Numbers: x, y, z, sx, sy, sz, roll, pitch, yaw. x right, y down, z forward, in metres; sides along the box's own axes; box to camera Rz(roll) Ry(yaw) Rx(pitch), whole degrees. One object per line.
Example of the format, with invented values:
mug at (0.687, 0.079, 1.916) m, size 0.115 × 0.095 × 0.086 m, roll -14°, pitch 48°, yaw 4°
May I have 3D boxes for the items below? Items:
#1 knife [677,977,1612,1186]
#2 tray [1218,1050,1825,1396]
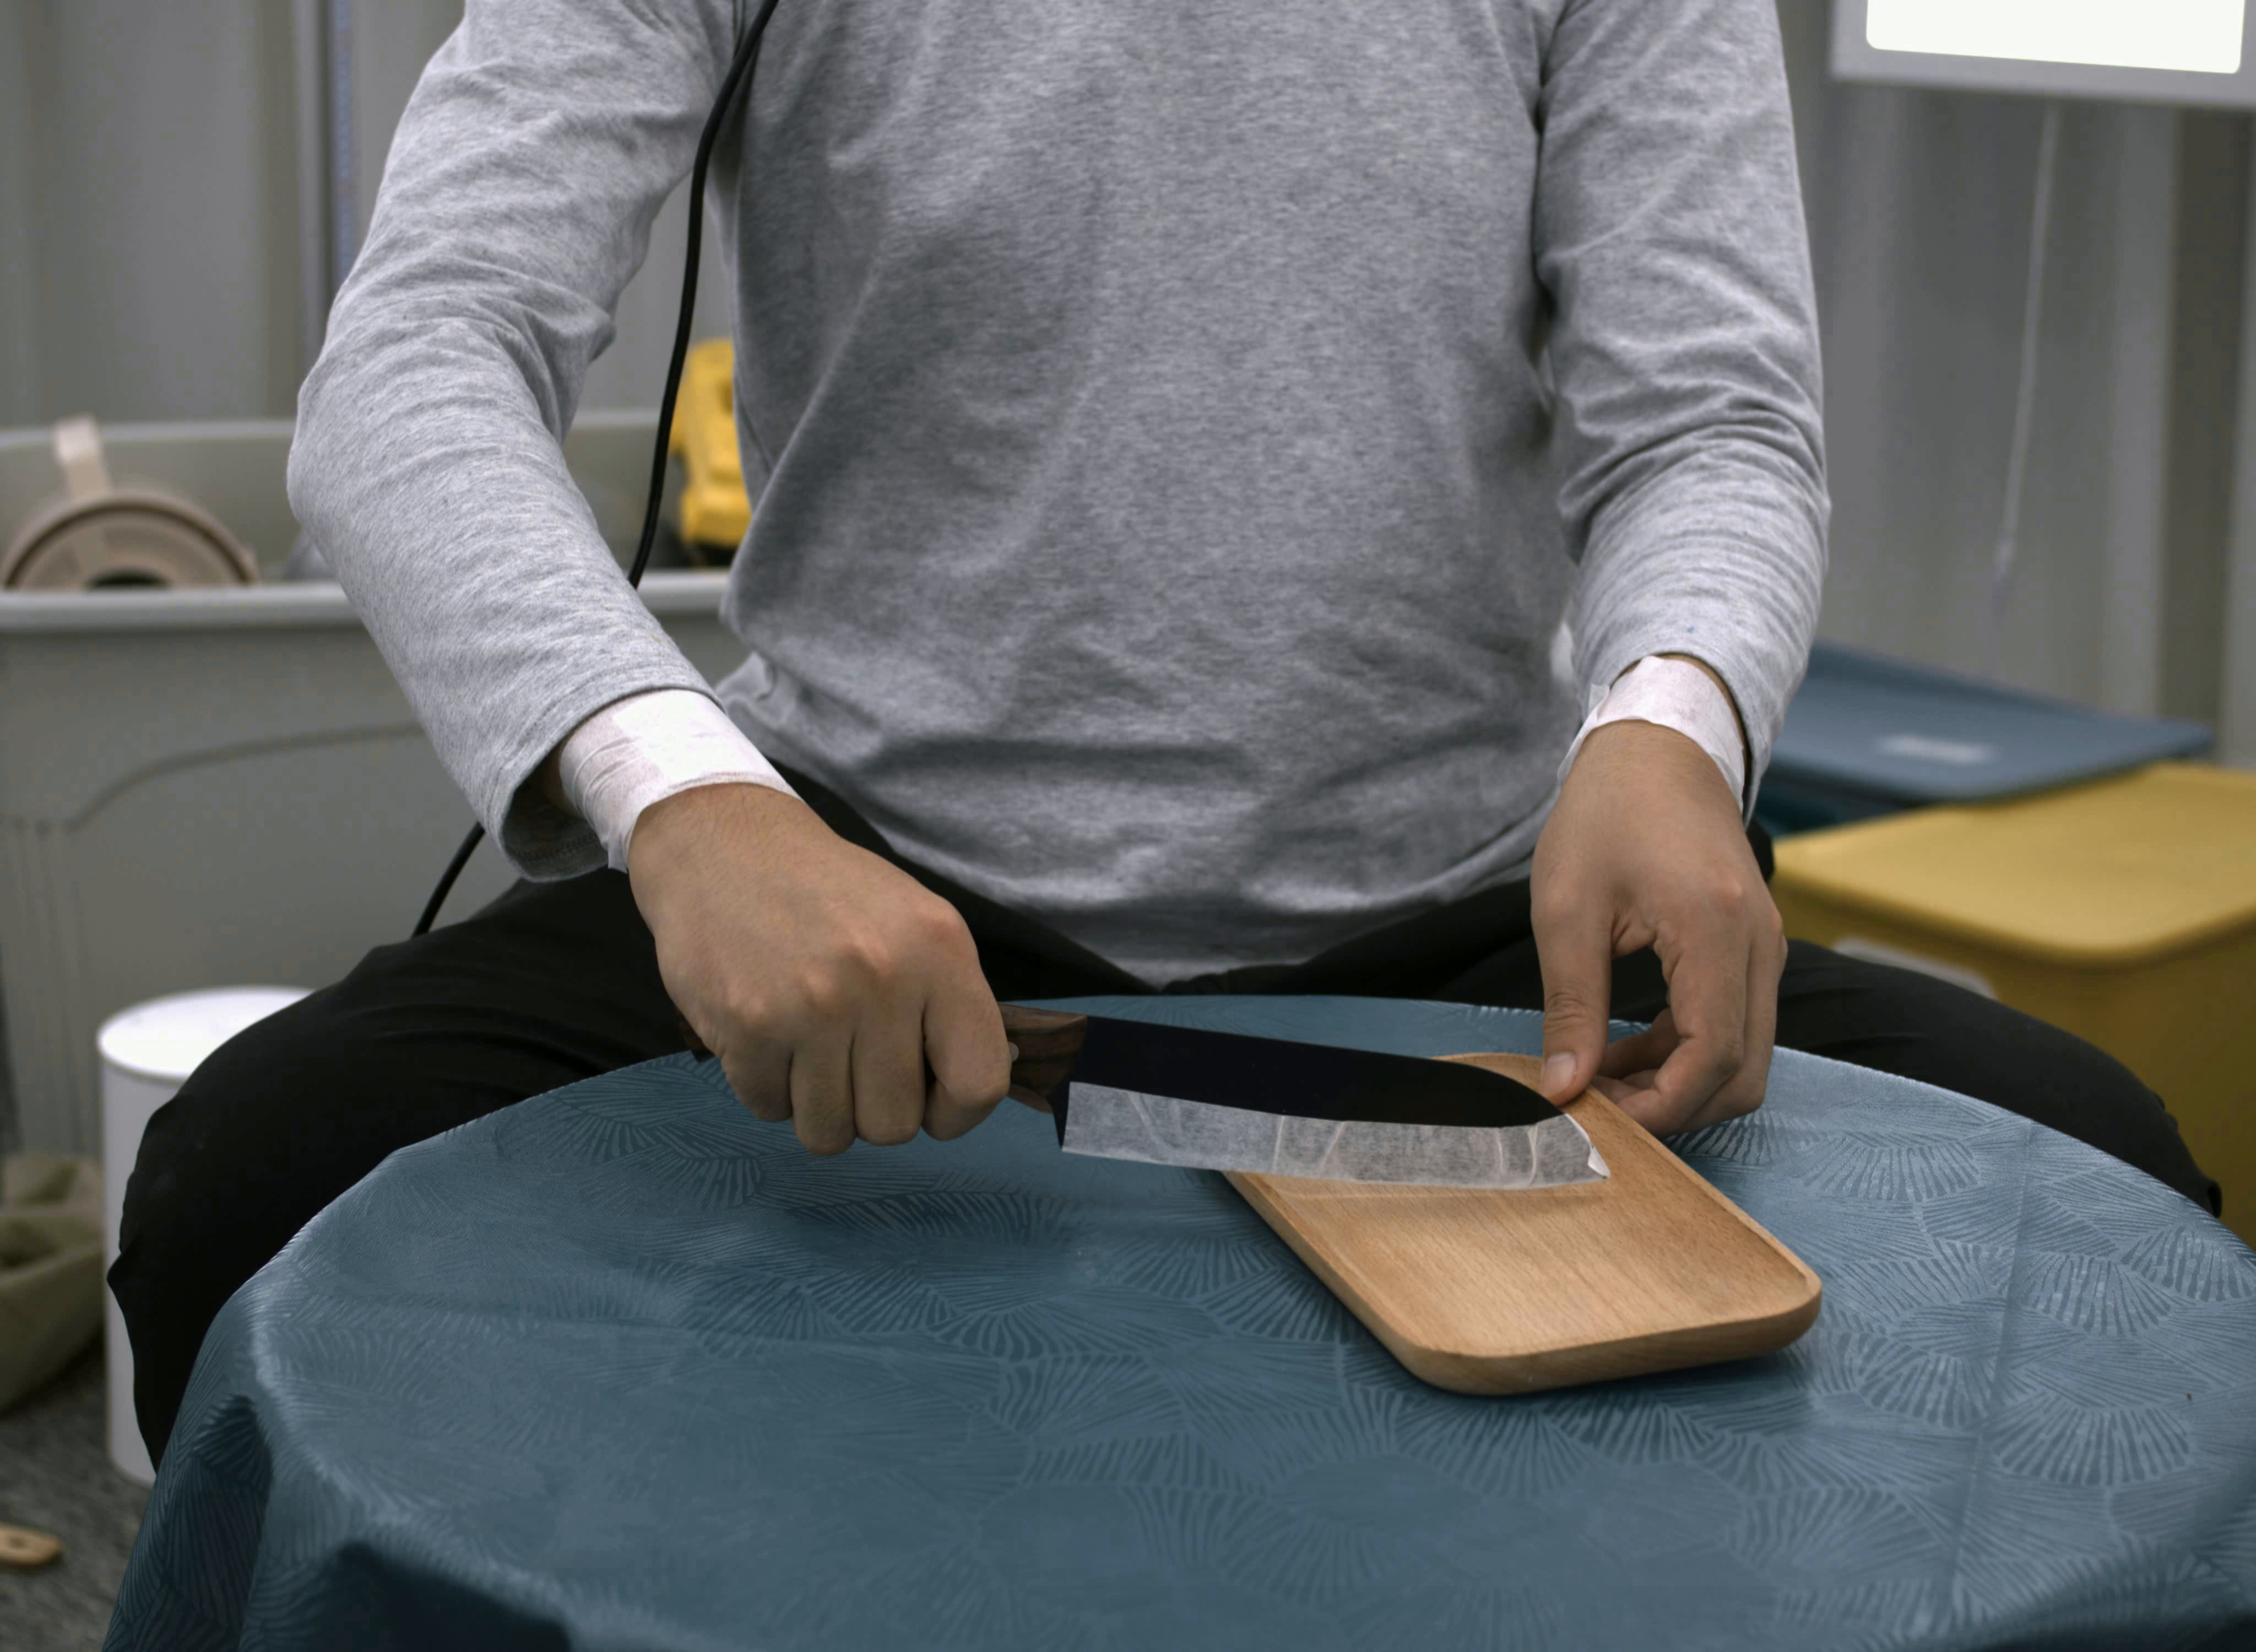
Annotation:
knife at (0.004, 0.078, 1.594) m, size 0.288 × 0.050 × 0.020 m, roll 9°, pitch 16°, yaw 4°
tray at (0.110, 0.116, 1.577) m, size 0.131 × 0.023 × 0.248 m, roll -4°, pitch 15°, yaw -15°
